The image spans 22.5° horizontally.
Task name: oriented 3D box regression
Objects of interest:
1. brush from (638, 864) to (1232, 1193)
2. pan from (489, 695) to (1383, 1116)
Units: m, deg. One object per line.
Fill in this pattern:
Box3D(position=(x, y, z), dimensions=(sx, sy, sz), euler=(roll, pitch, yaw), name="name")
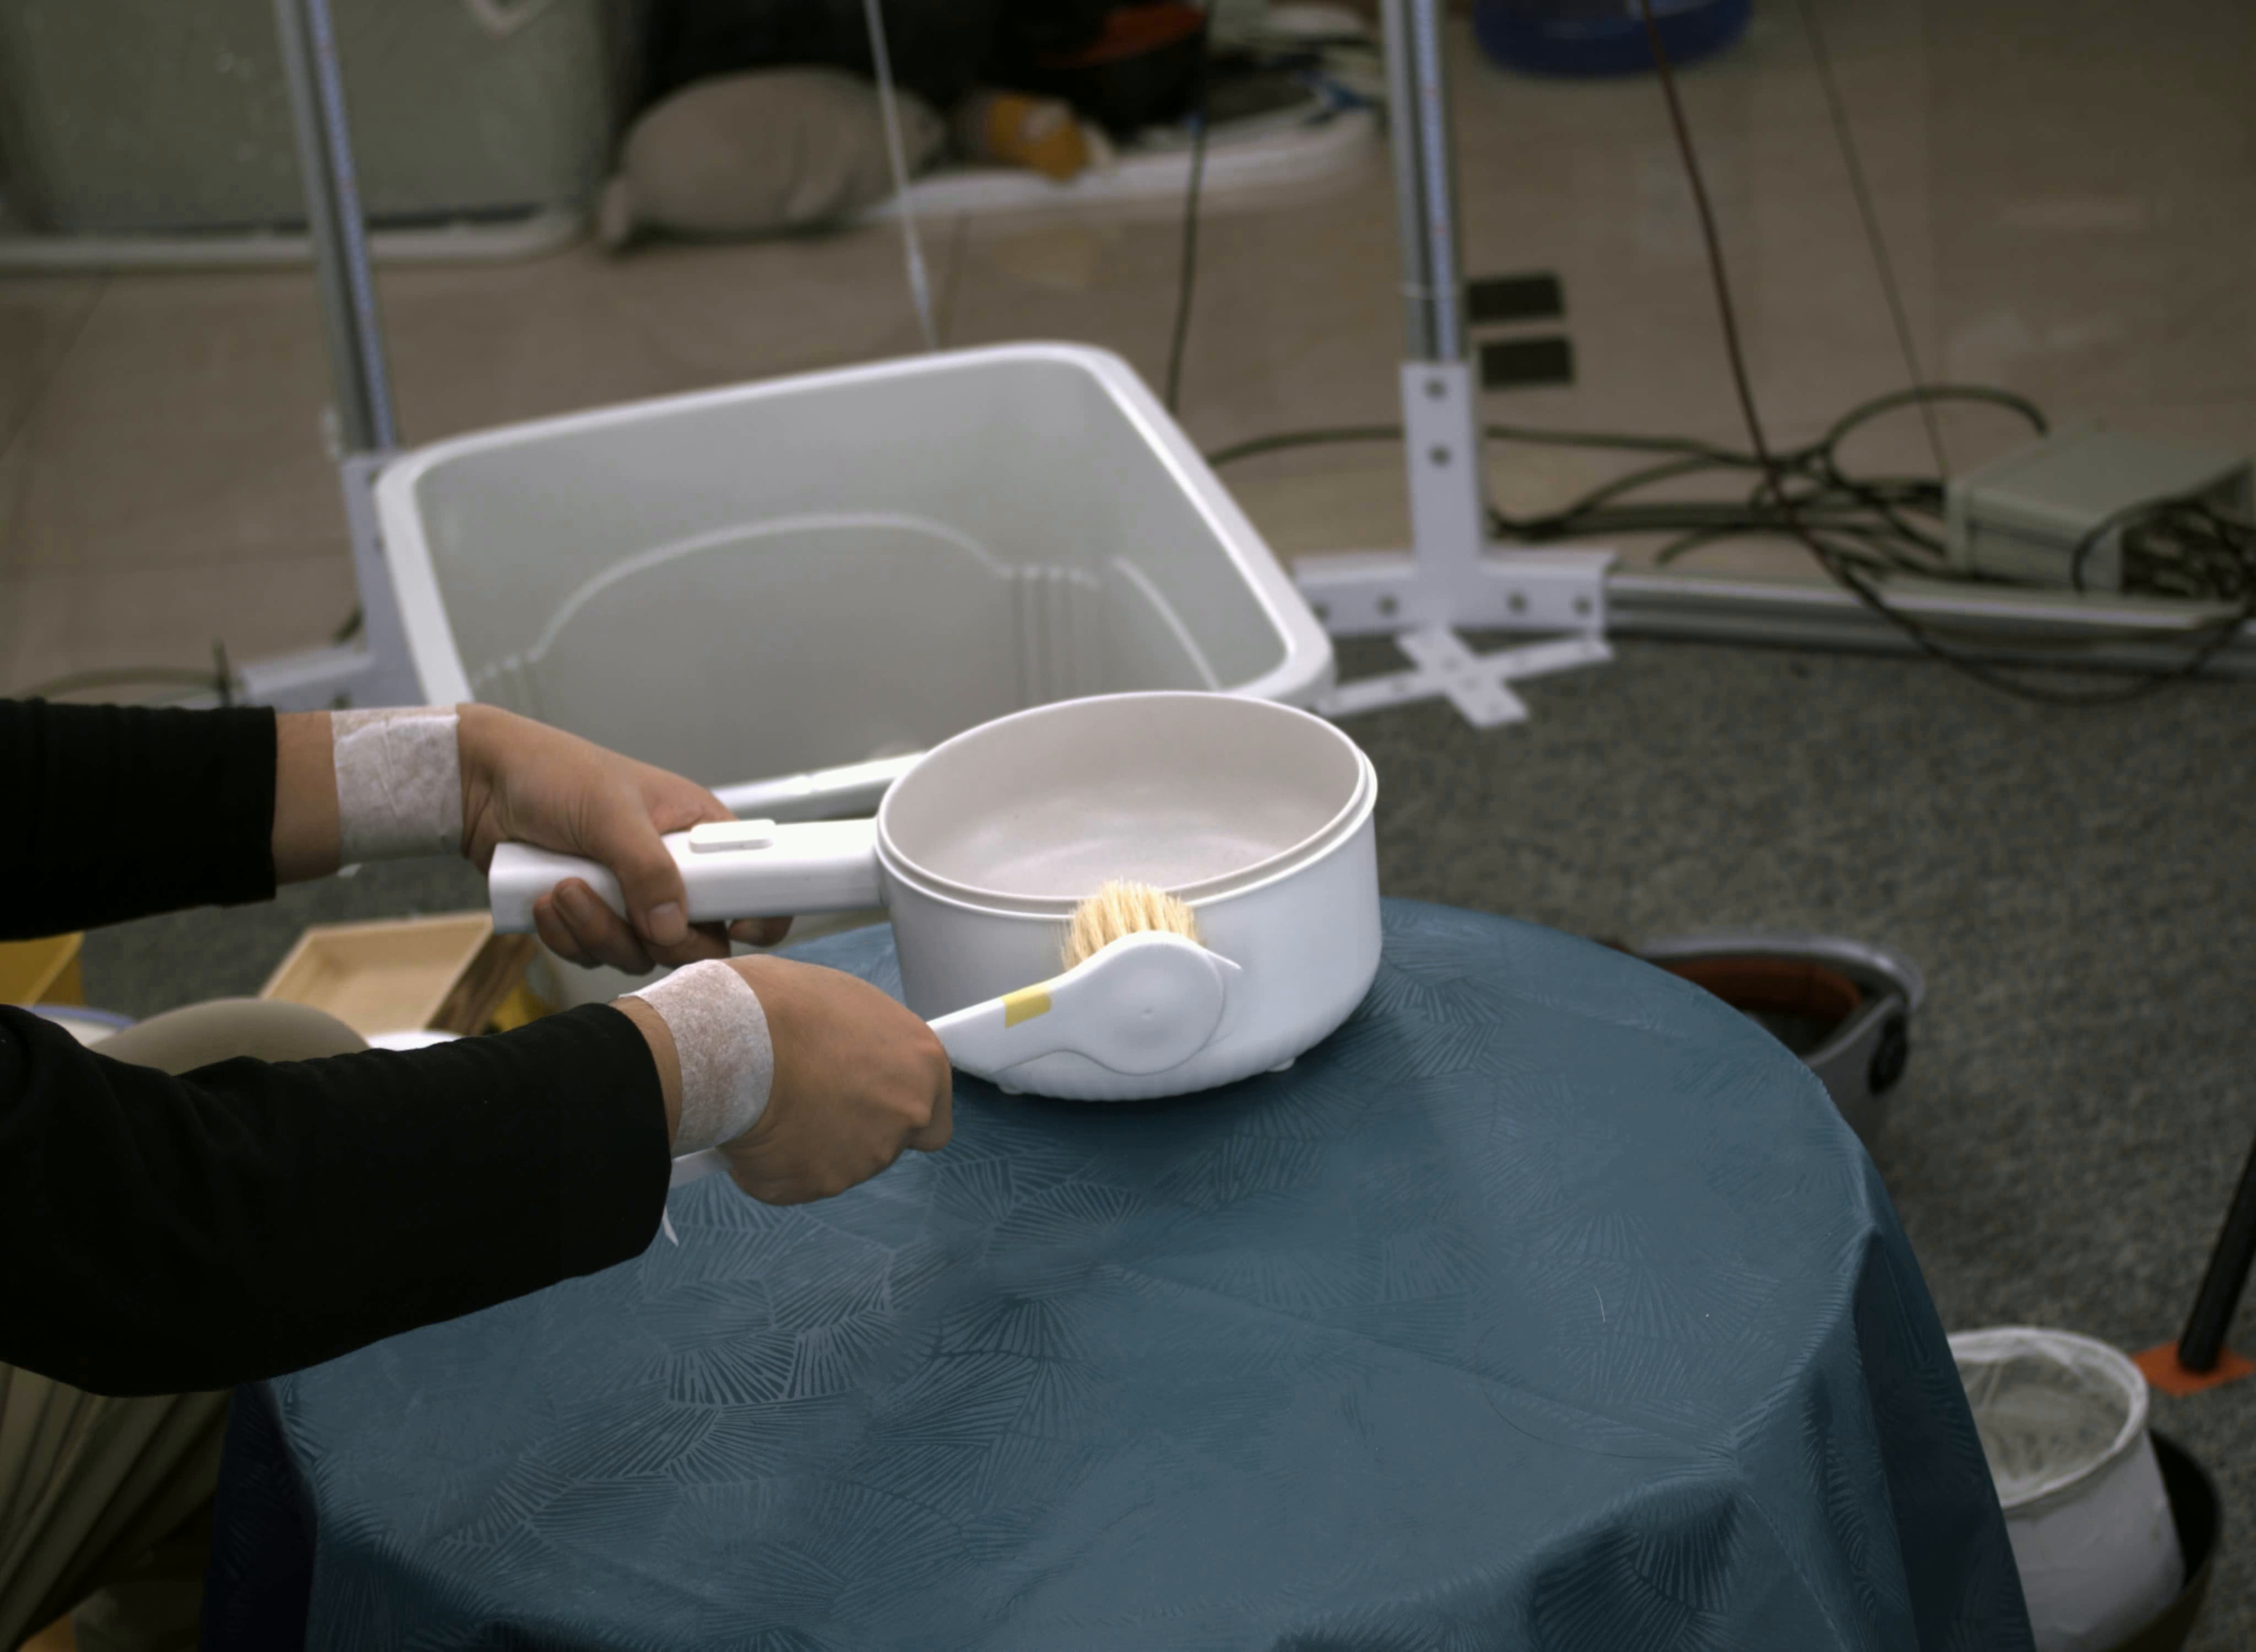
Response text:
Box3D(position=(-0.078, 0.077, 2.082), dimensions=(0.265, 0.069, 0.055), euler=(-17, 31, -31), name="brush")
Box3D(position=(-0.073, 0.043, 2.262), dimensions=(0.354, 0.104, 0.198), euler=(-6, 27, 3), name="pan")
